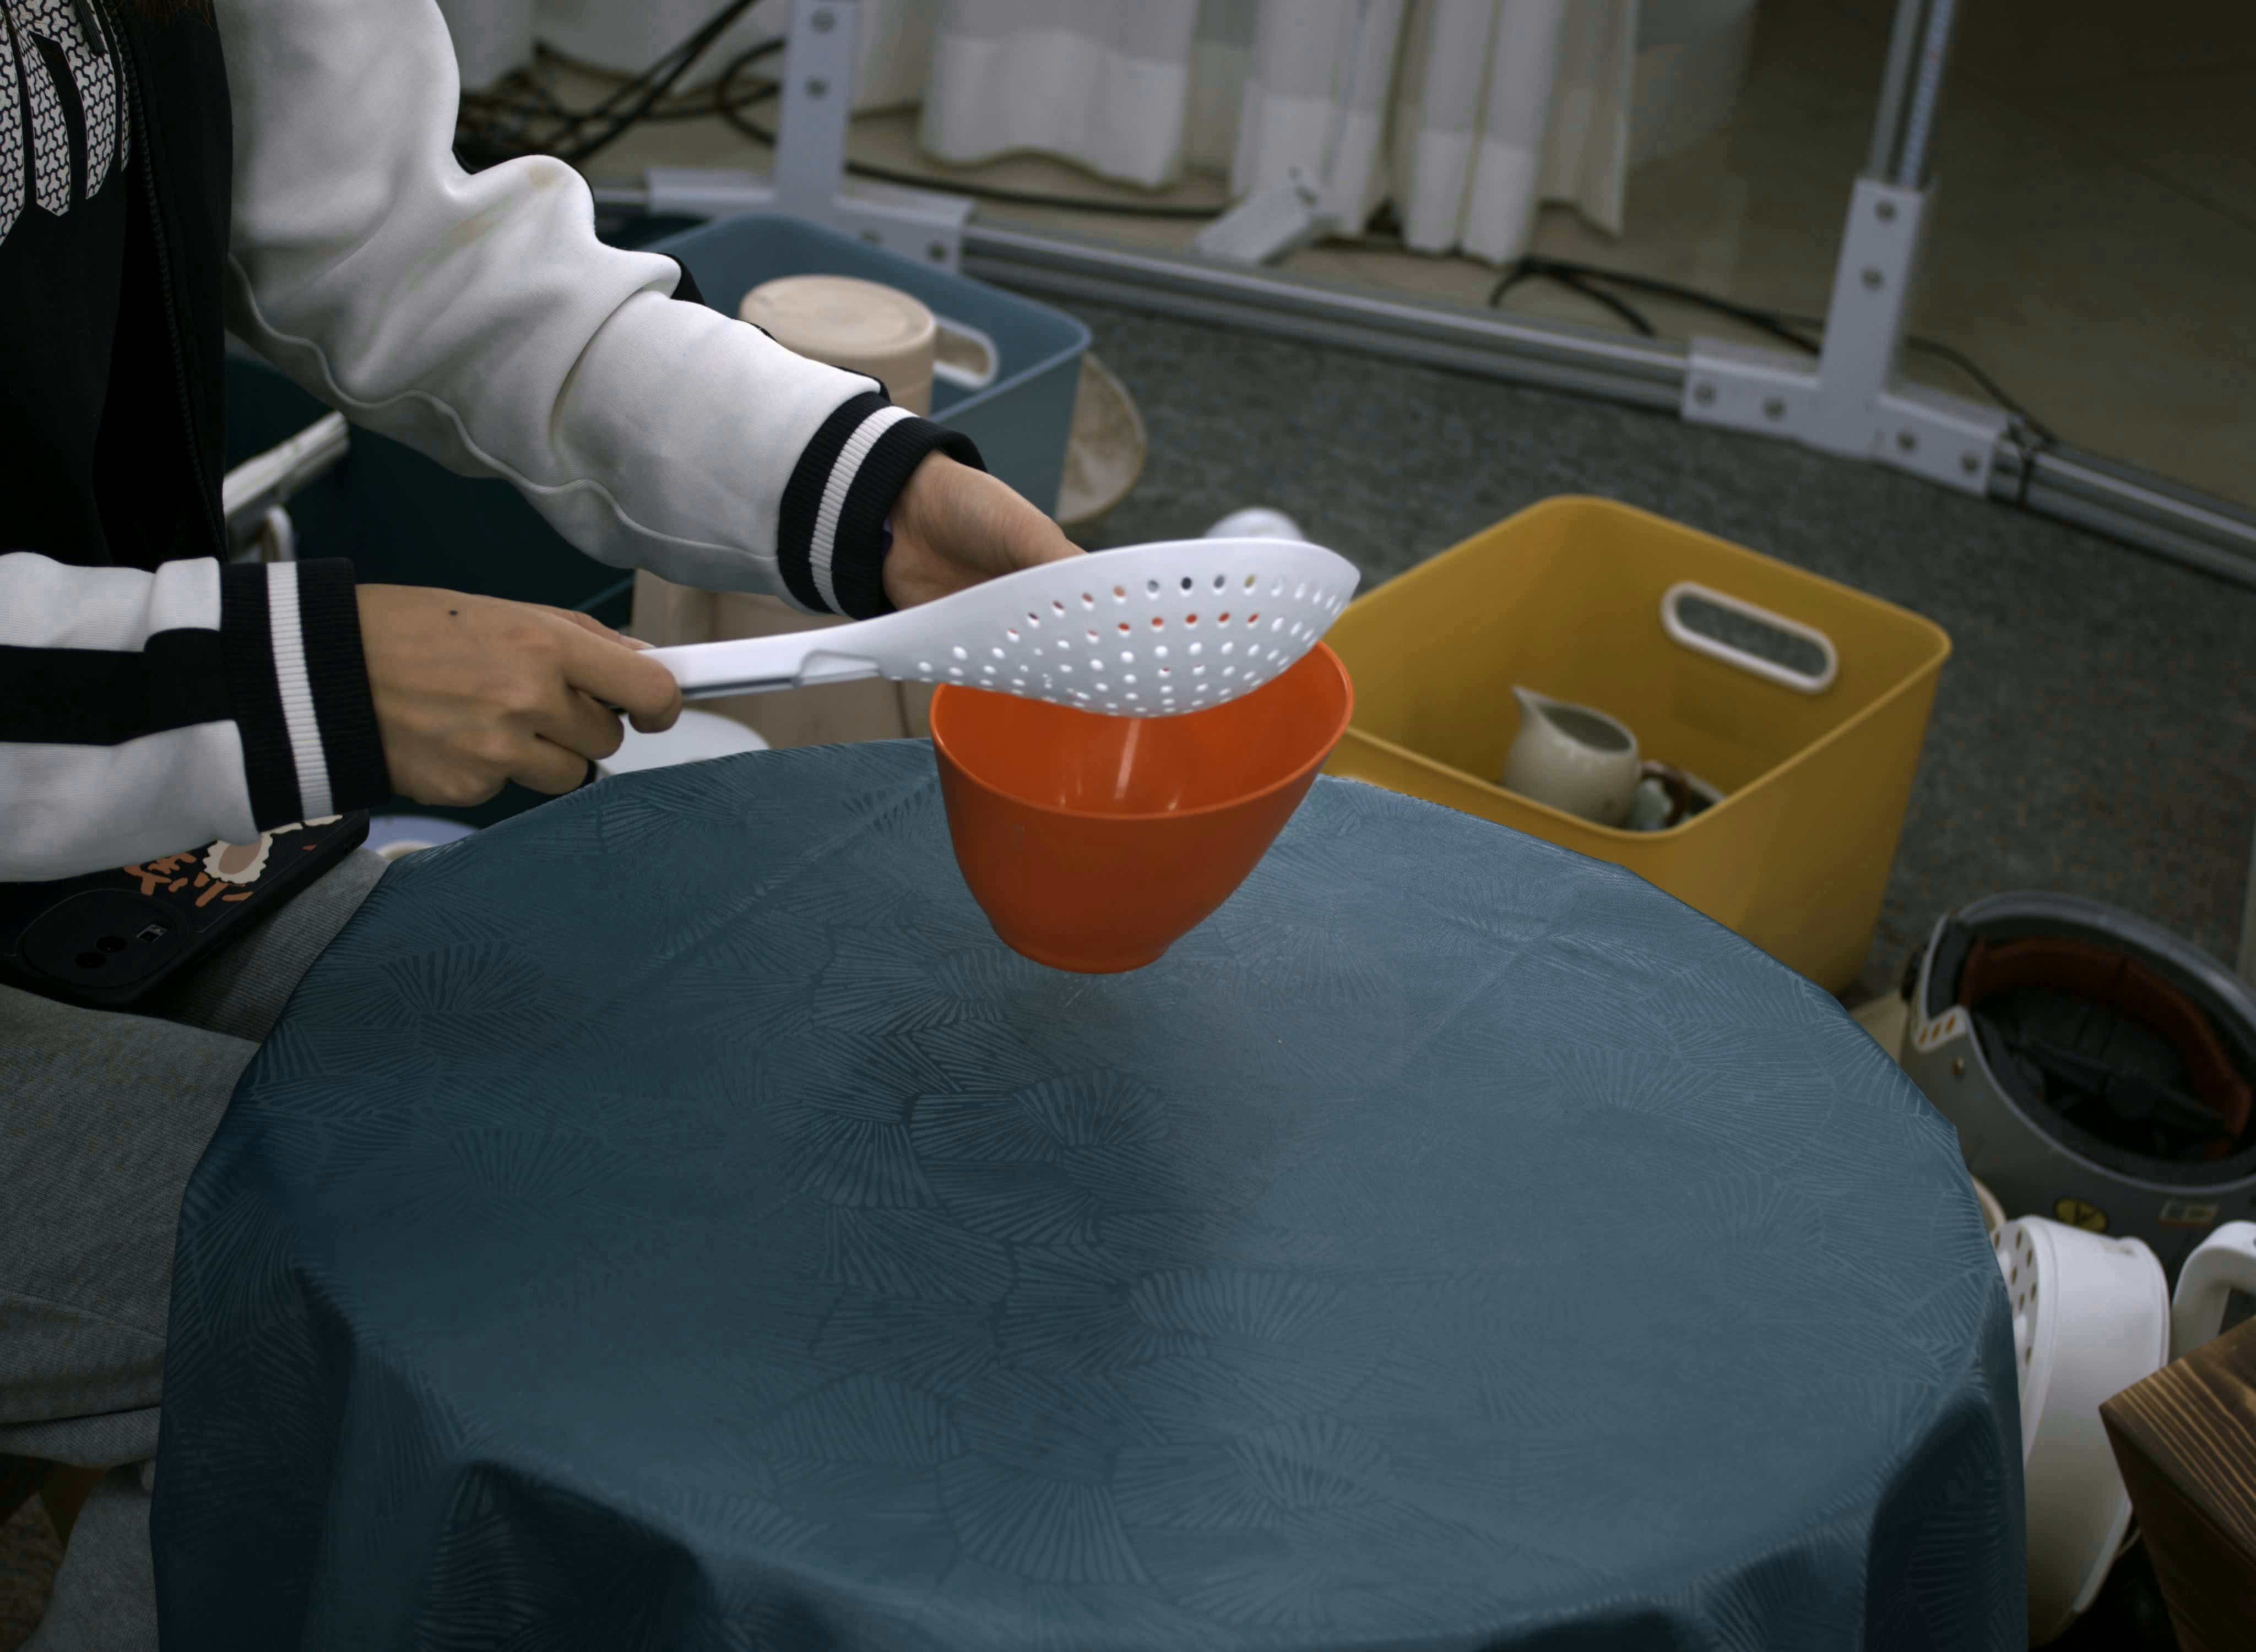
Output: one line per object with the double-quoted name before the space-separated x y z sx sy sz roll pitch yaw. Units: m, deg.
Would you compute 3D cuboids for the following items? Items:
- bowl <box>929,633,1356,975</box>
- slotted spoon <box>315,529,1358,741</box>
"bowl" 0.000 -0.007 1.875 0.147 0.104 0.149 5 33 -4
"slotted spoon" -0.097 -0.058 1.770 0.349 0.046 0.135 -2 -13 4
